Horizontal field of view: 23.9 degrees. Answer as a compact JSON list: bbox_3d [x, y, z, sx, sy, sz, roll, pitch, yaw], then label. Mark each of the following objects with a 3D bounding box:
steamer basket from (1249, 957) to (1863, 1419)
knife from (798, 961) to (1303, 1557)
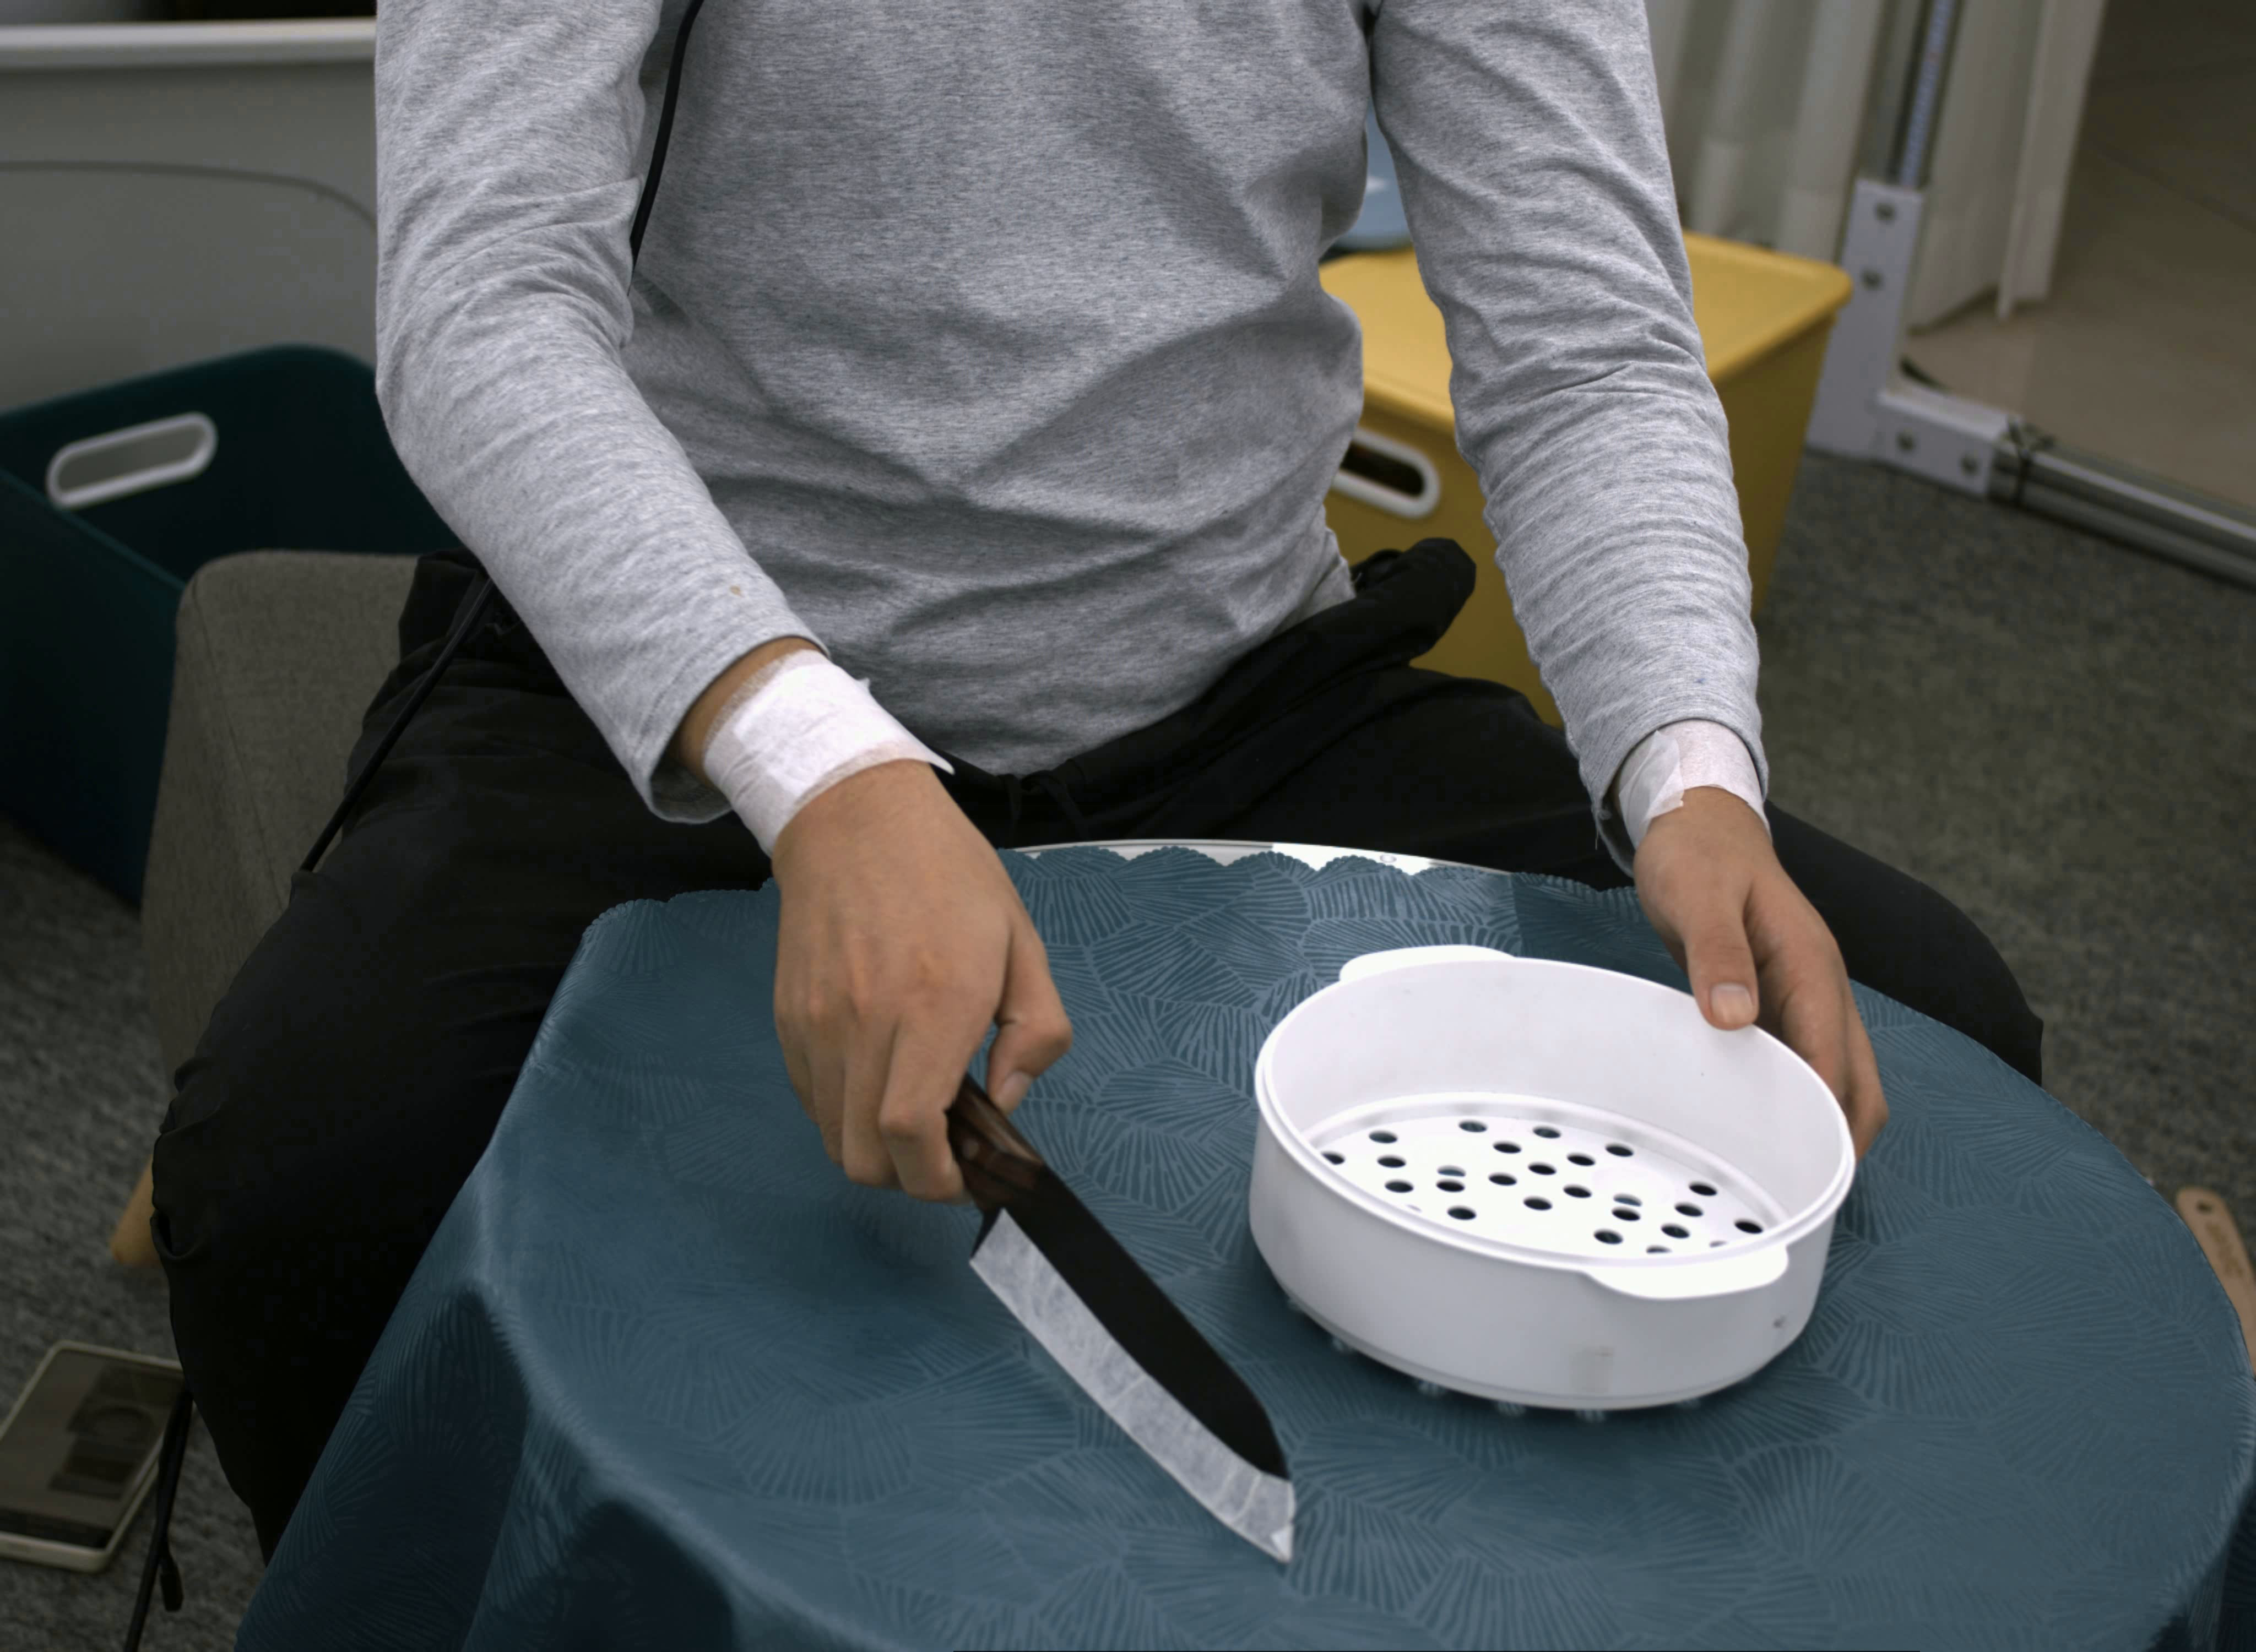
[{"bbox_3d":[0.140,0.122,1.767,0.200,0.069,0.232,-4,28,-22],"label":"steamer basket"},{"bbox_3d":[-0.026,0.135,1.701,0.020,0.050,0.292,14,25,-47],"label":"knife"}]
